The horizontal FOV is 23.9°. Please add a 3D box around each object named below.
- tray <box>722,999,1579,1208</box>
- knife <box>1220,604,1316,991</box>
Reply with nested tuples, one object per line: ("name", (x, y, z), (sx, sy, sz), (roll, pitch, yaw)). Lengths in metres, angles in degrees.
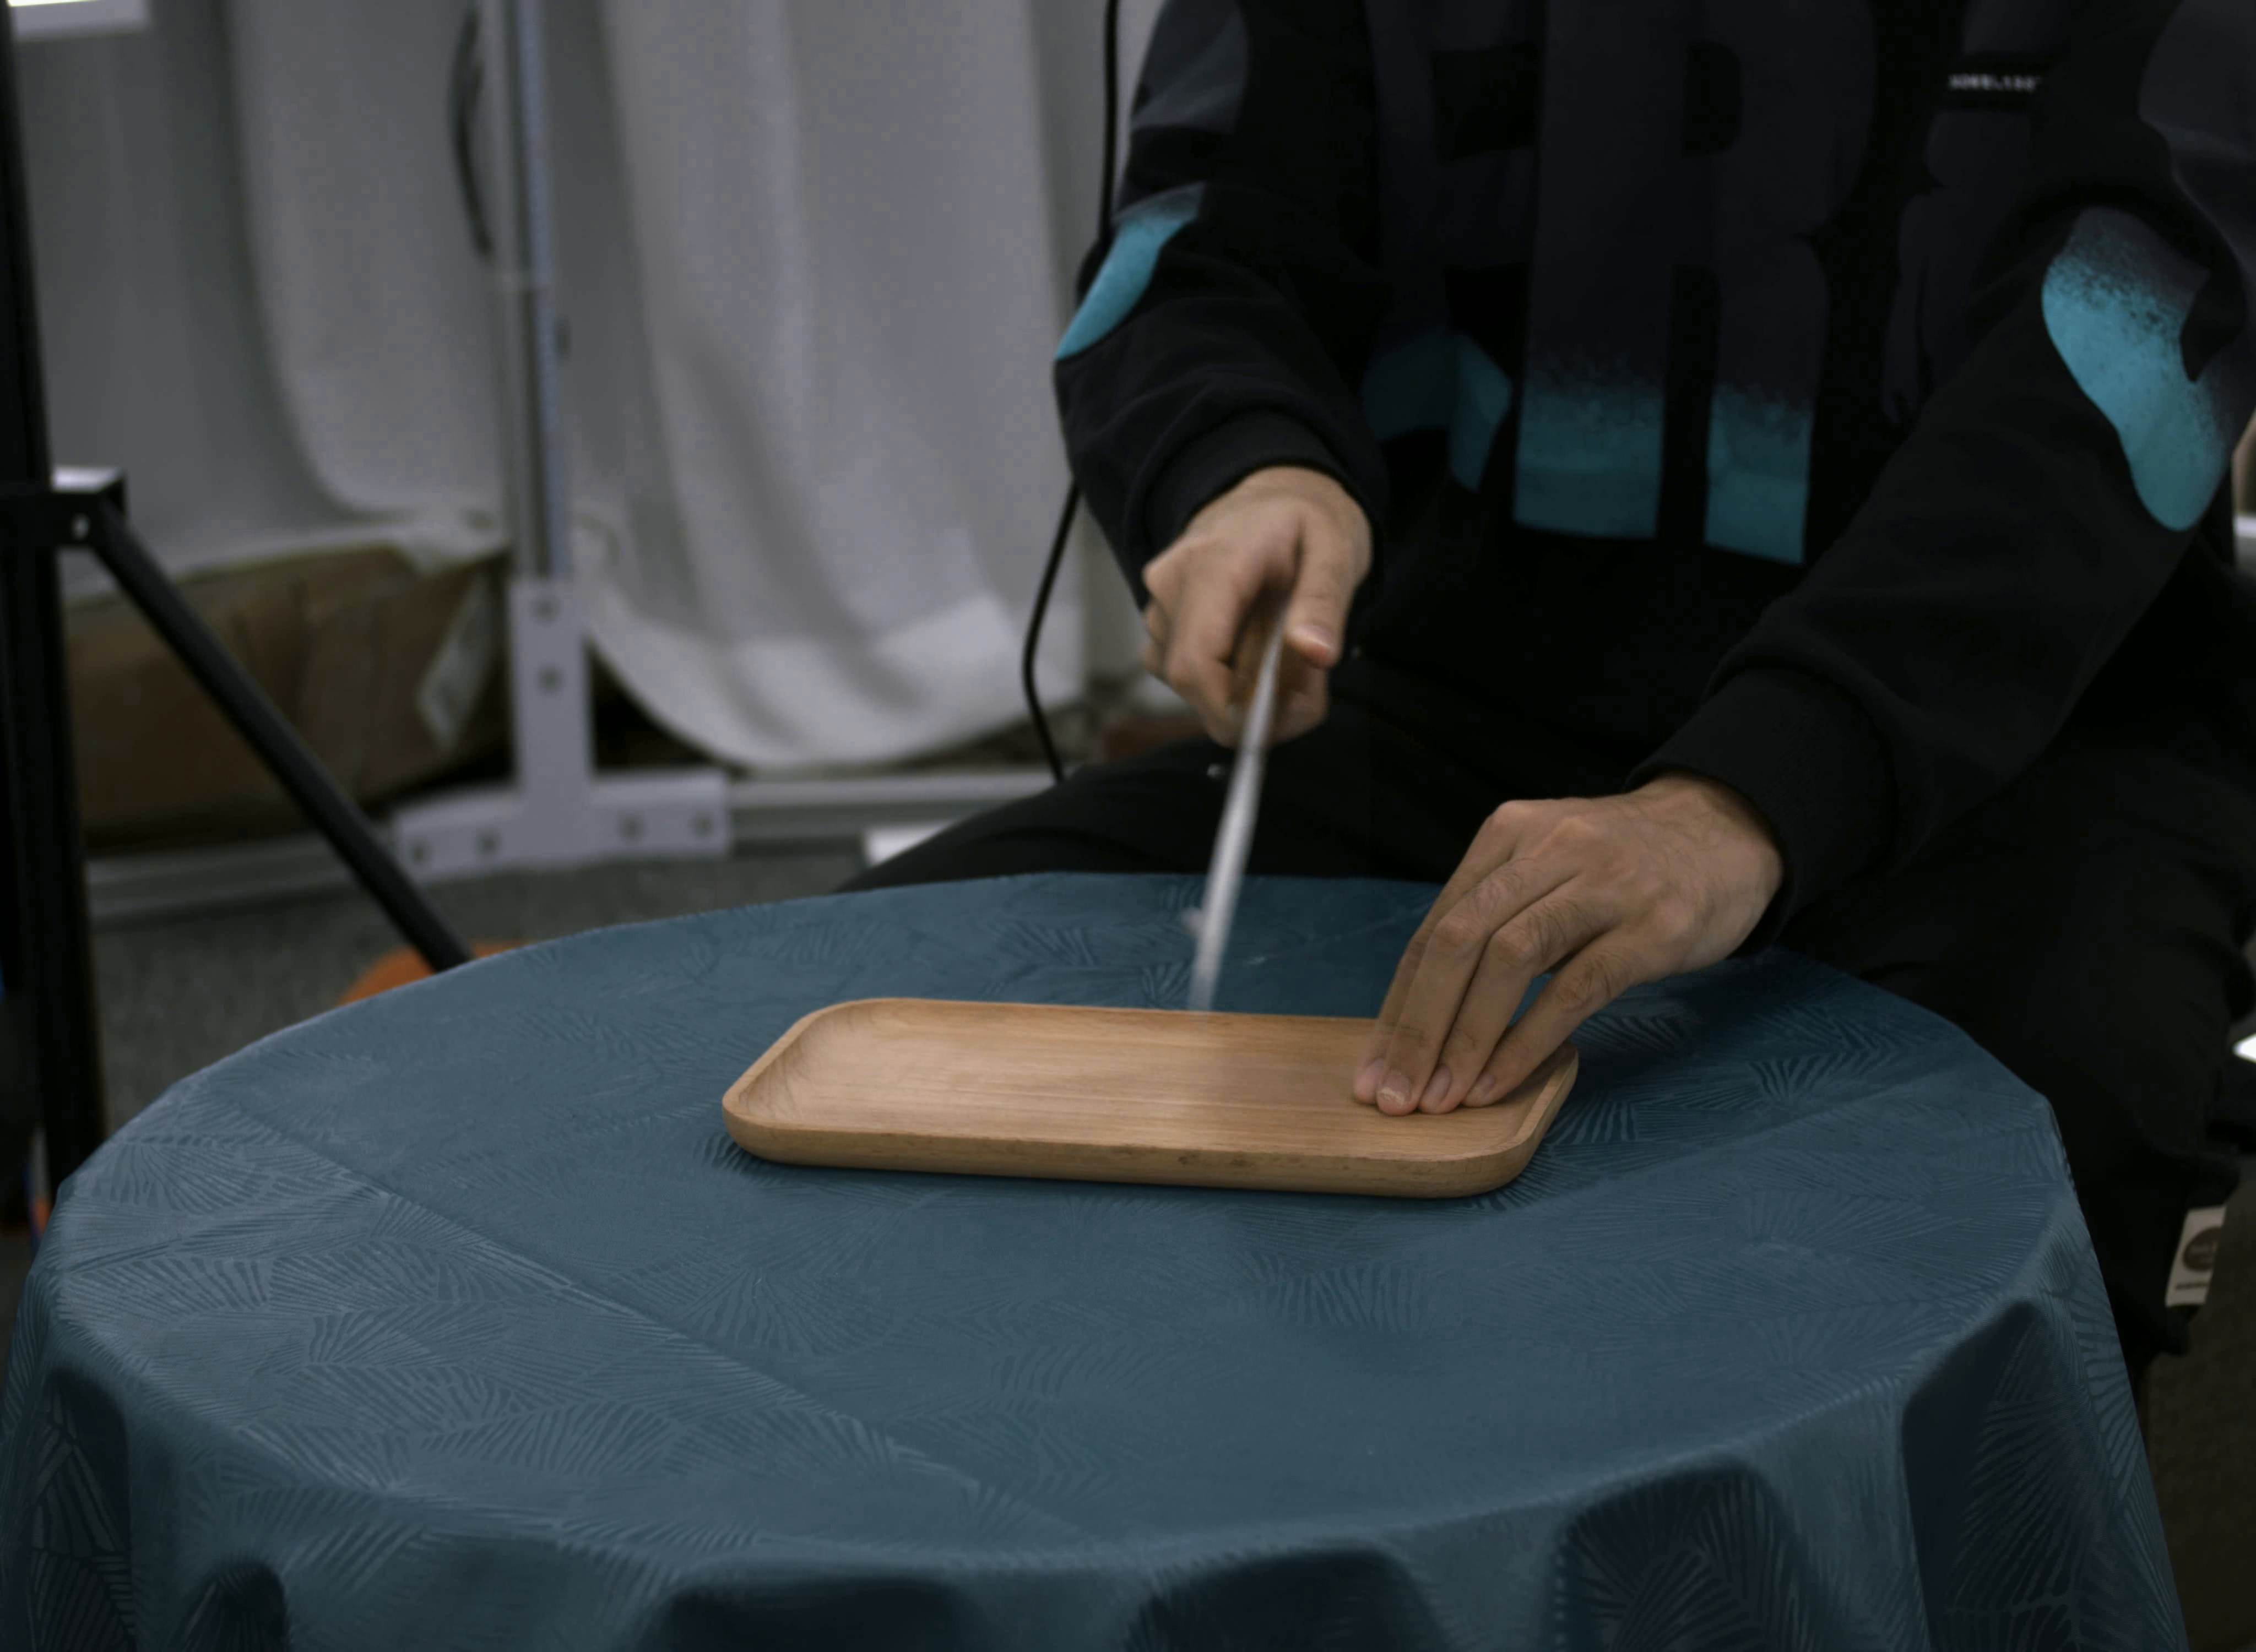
("tray", (0.008, 0.084, 1.616), (0.253, 0.023, 0.129), (4, 19, 18))
("knife", (0.041, -0.010, 1.659), (0.021, 0.093, 0.306), (12, 11, -1))
